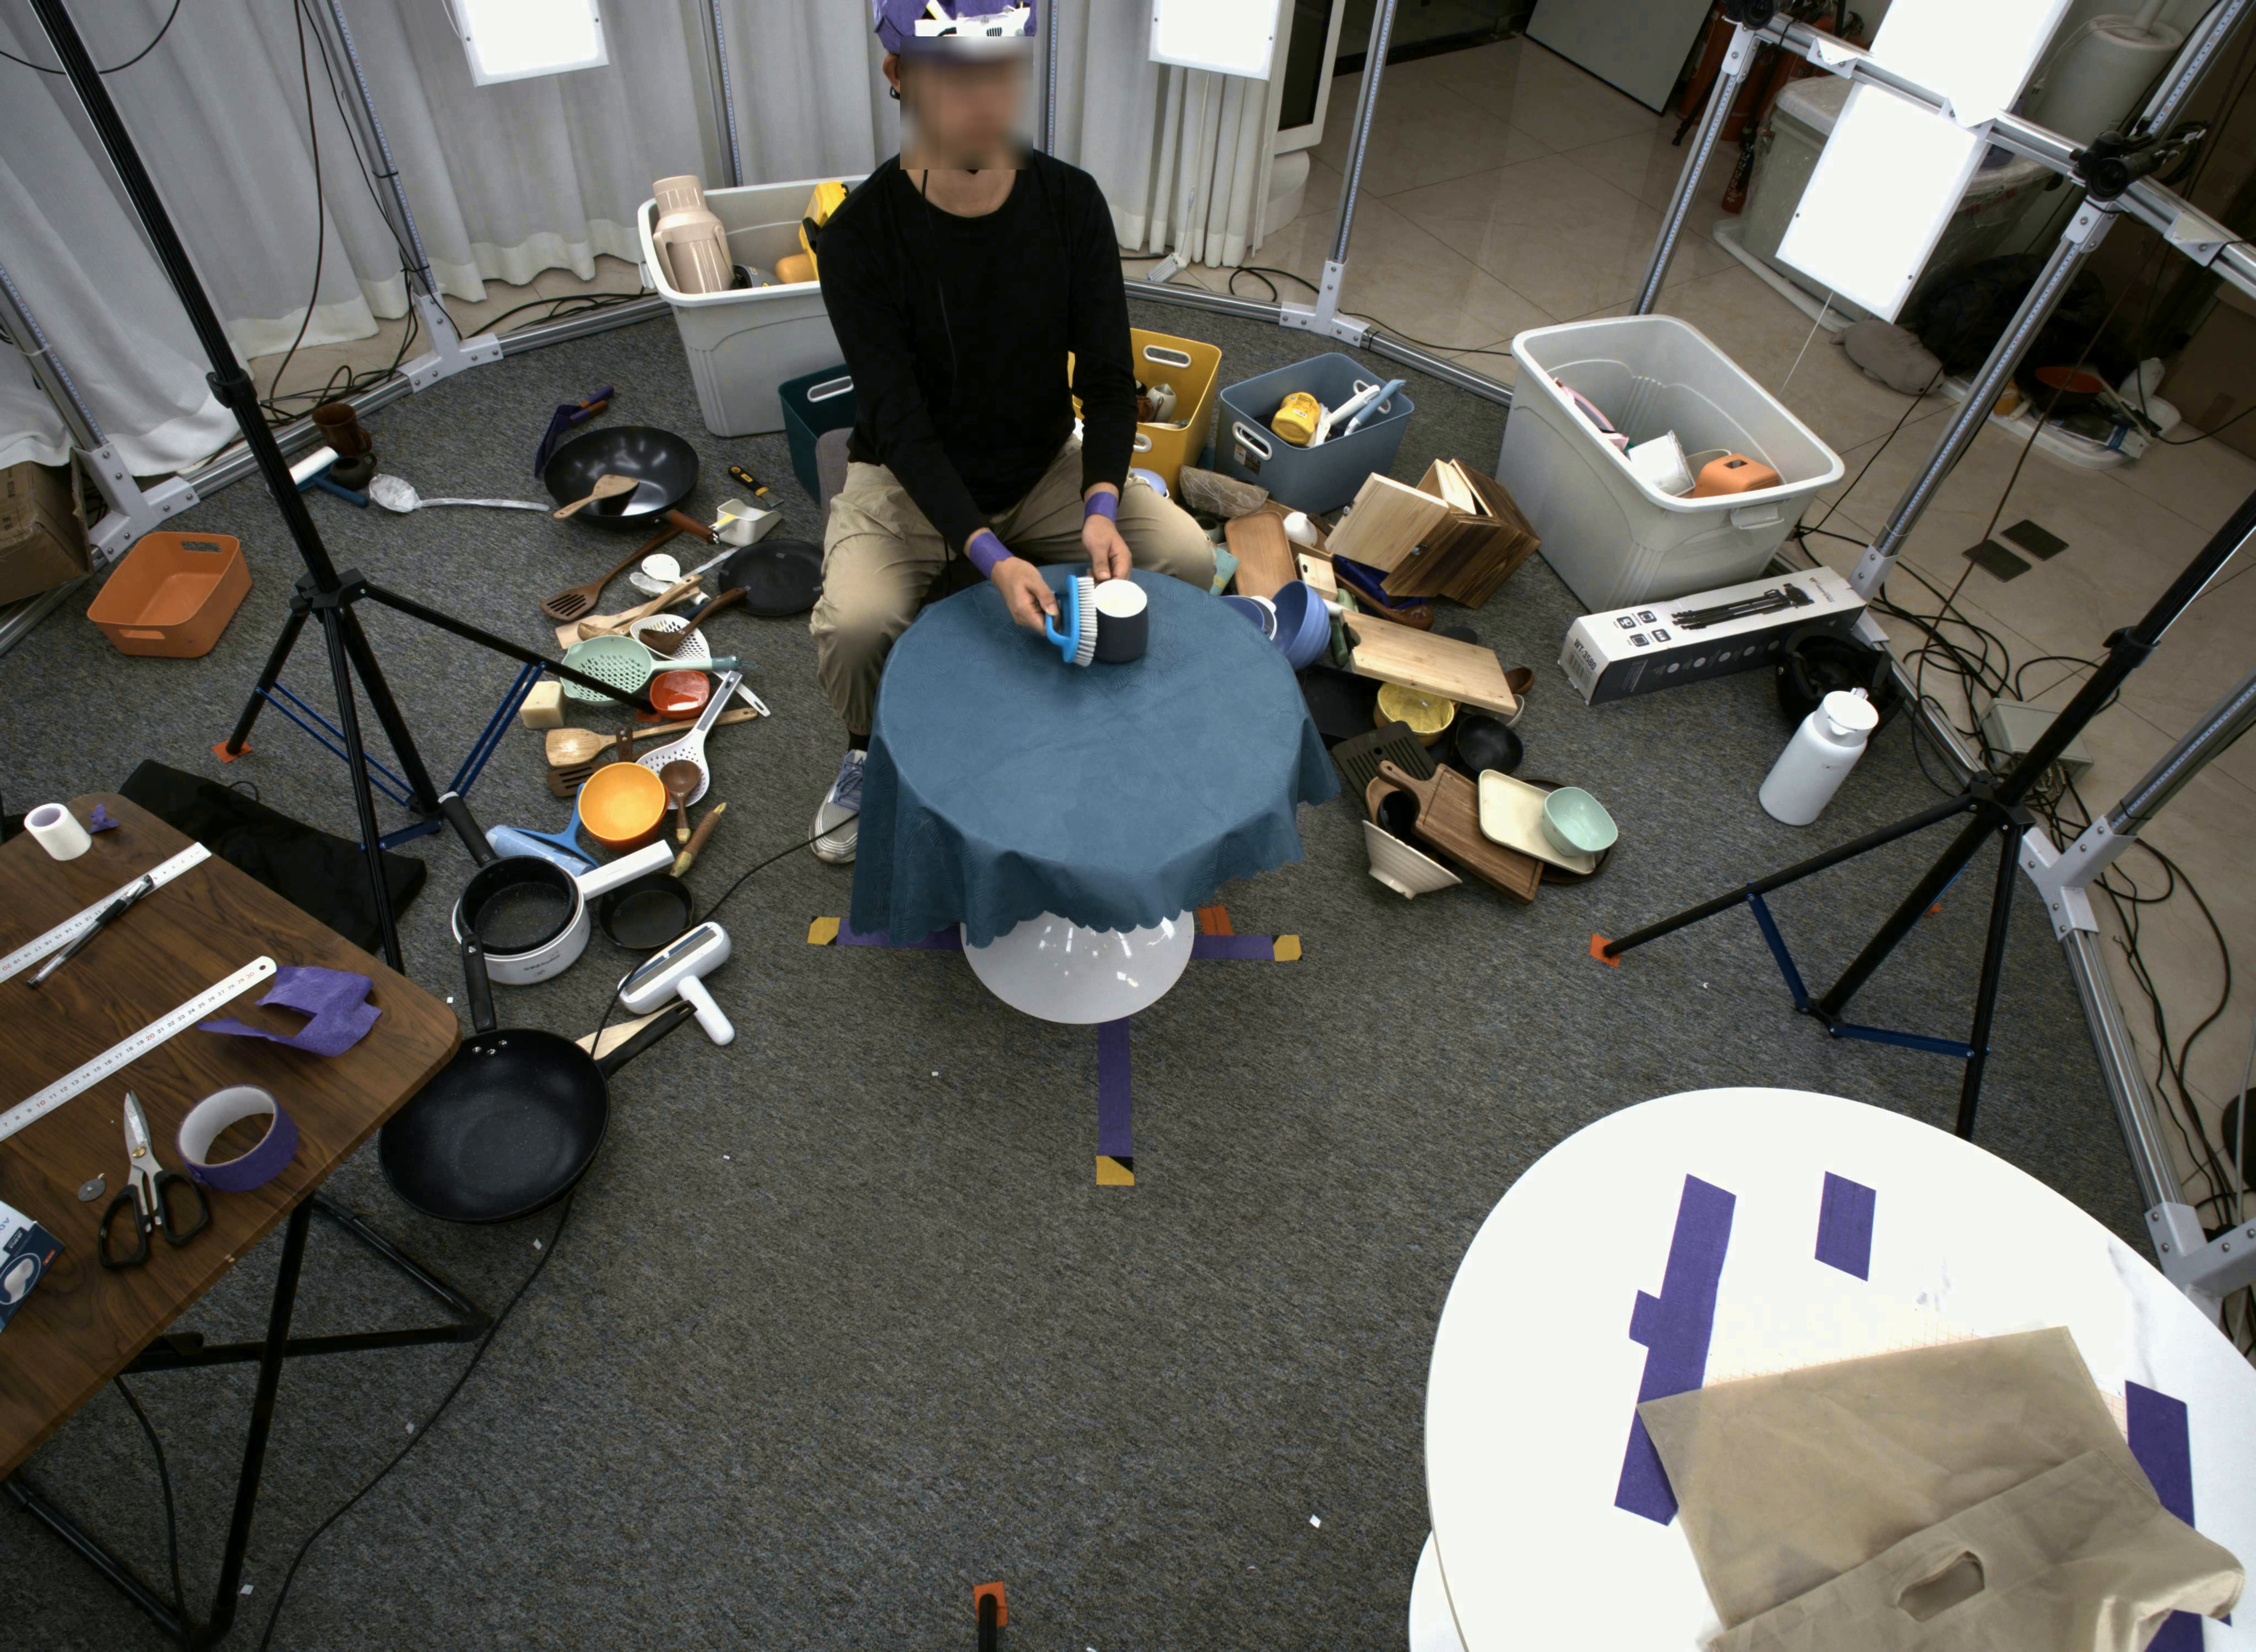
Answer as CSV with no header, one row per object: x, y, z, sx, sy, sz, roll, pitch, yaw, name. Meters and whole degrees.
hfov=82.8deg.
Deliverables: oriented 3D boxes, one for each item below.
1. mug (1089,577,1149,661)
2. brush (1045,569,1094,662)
-0.019,-0.310,1.873,0.093,0.088,0.126,-10,52,-14,mug
-0.086,-0.299,1.824,0.063,0.083,0.145,5,61,-13,brush
